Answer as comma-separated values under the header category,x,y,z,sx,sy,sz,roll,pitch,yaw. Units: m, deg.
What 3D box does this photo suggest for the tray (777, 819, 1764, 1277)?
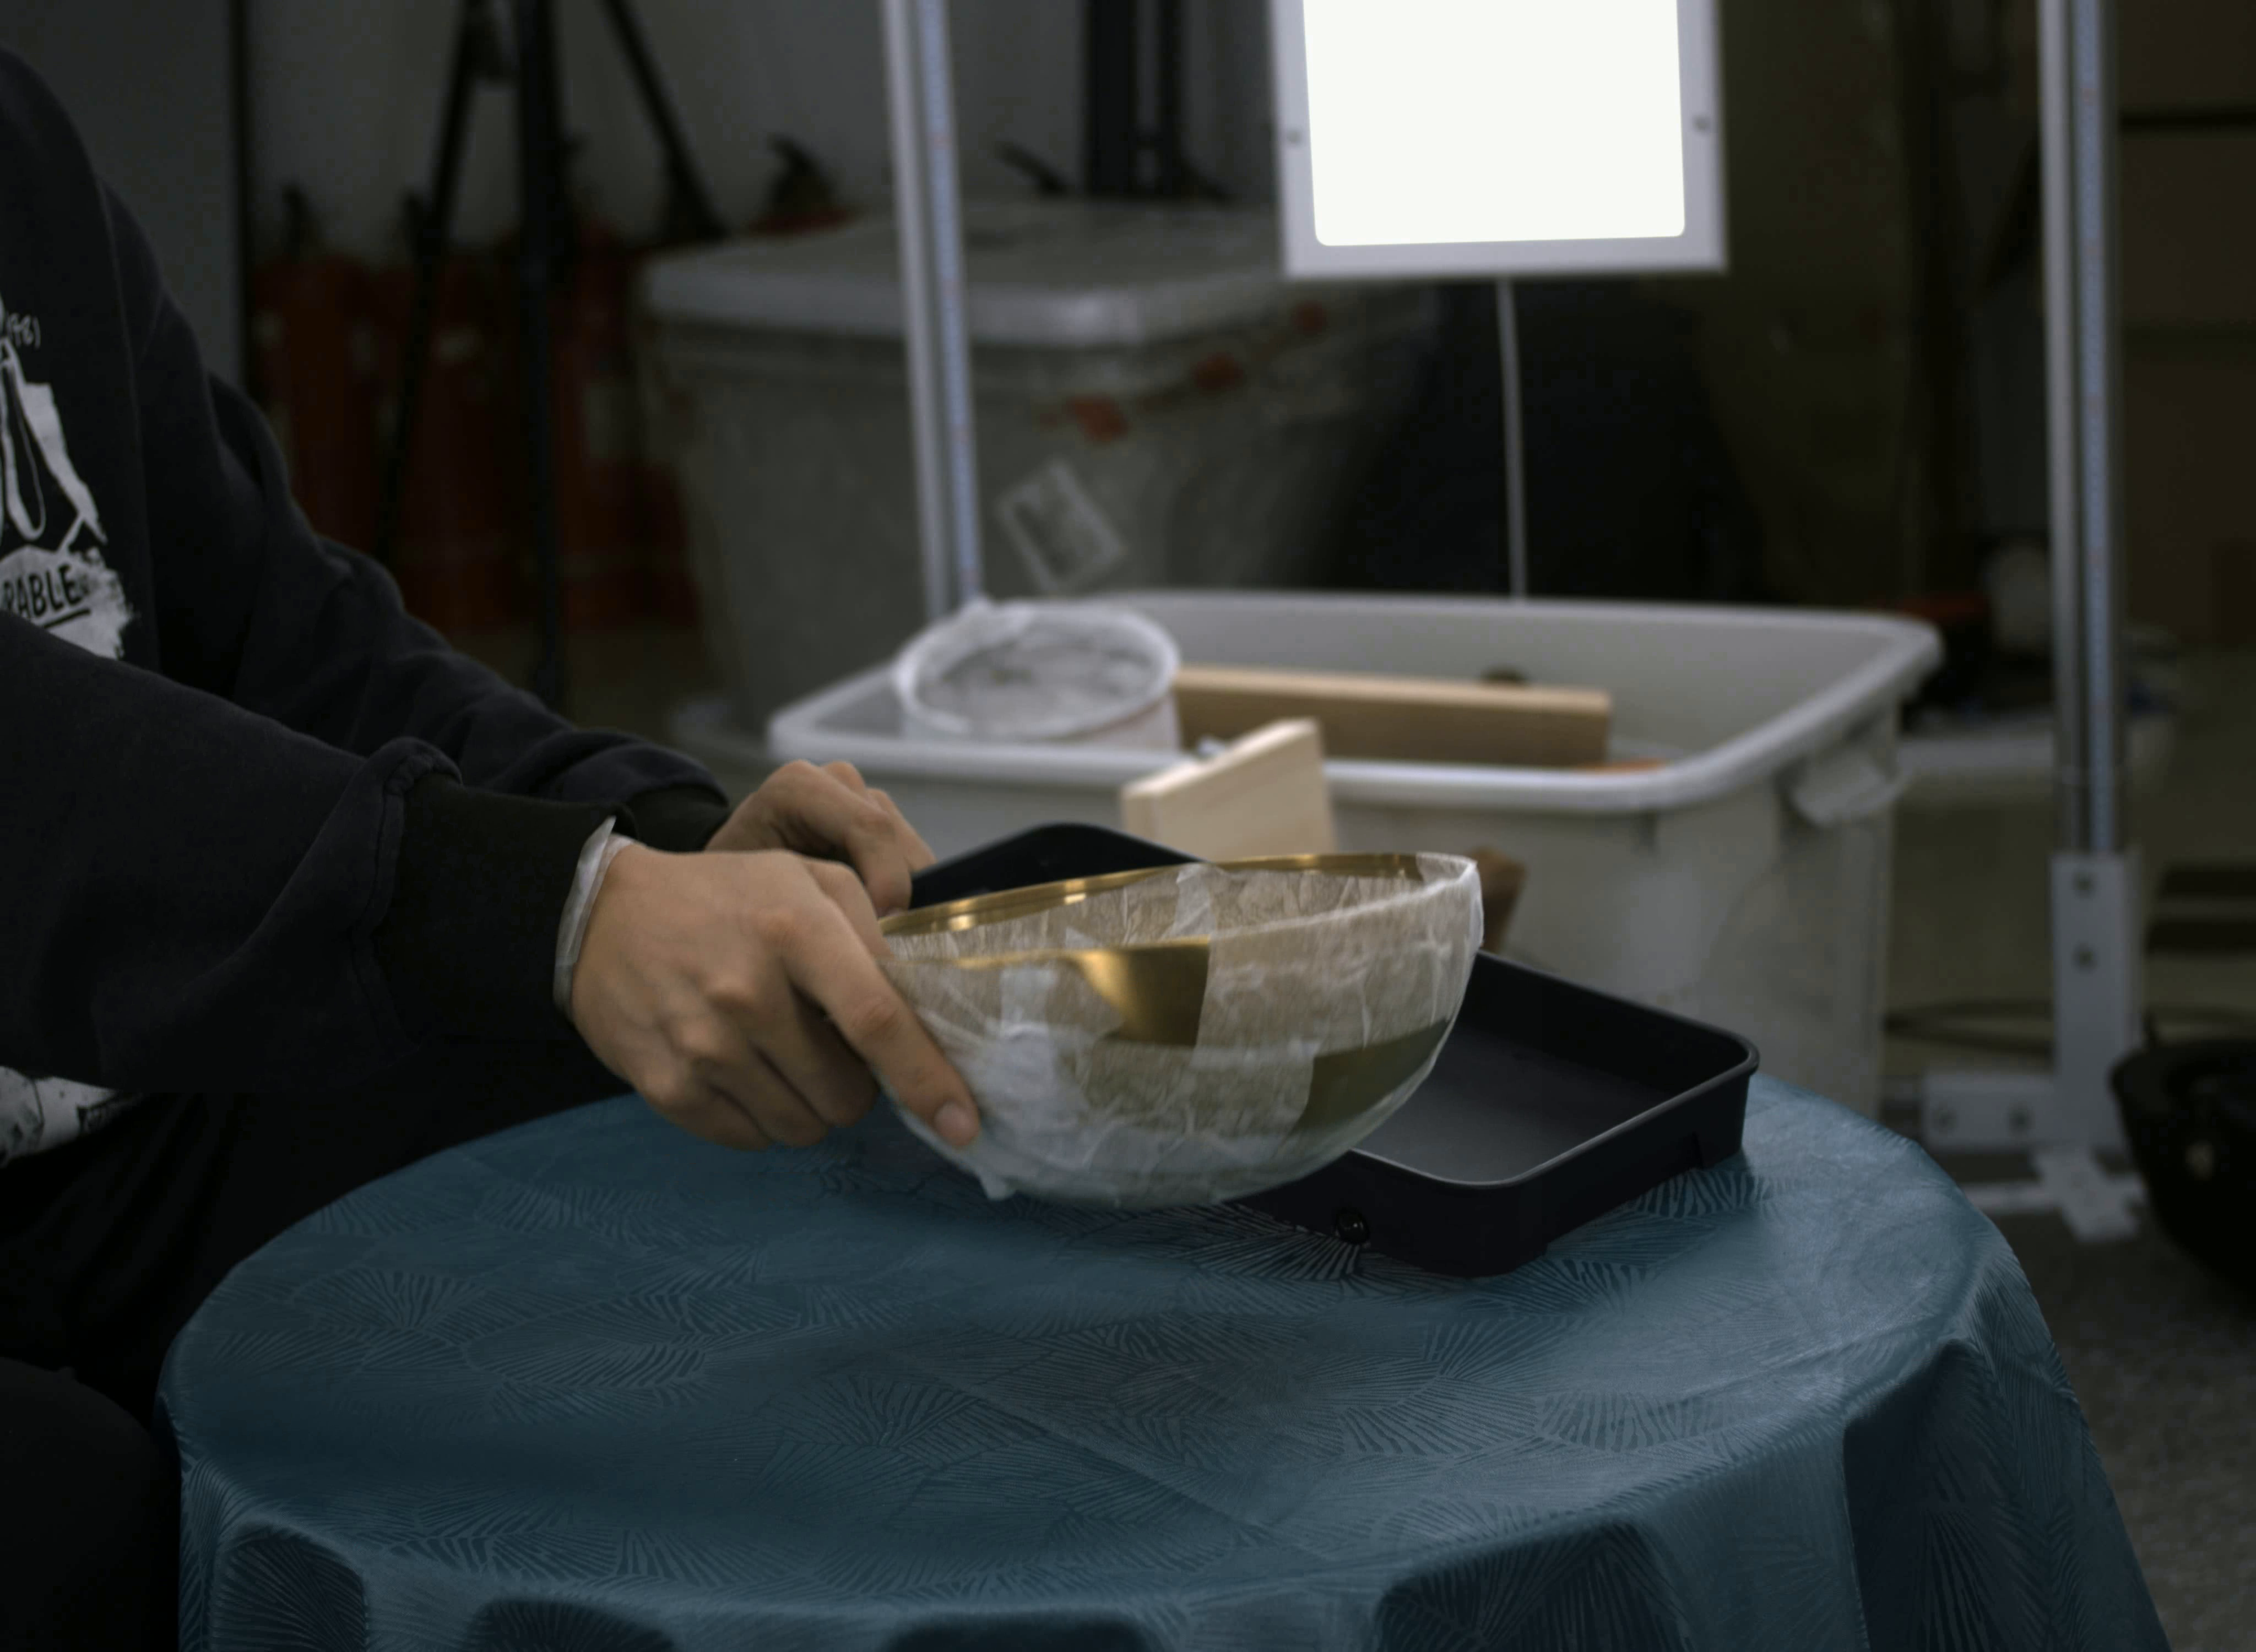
category,x,y,z,sx,sy,sz,roll,pitch,yaw
tray,0.047,0.072,1.914,0.324,0.037,0.179,18,26,37

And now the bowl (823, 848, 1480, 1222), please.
category,x,y,z,sx,sy,sz,roll,pitch,yaw
bowl,0.009,0.068,1.690,0.214,0.095,0.214,-8,7,0
